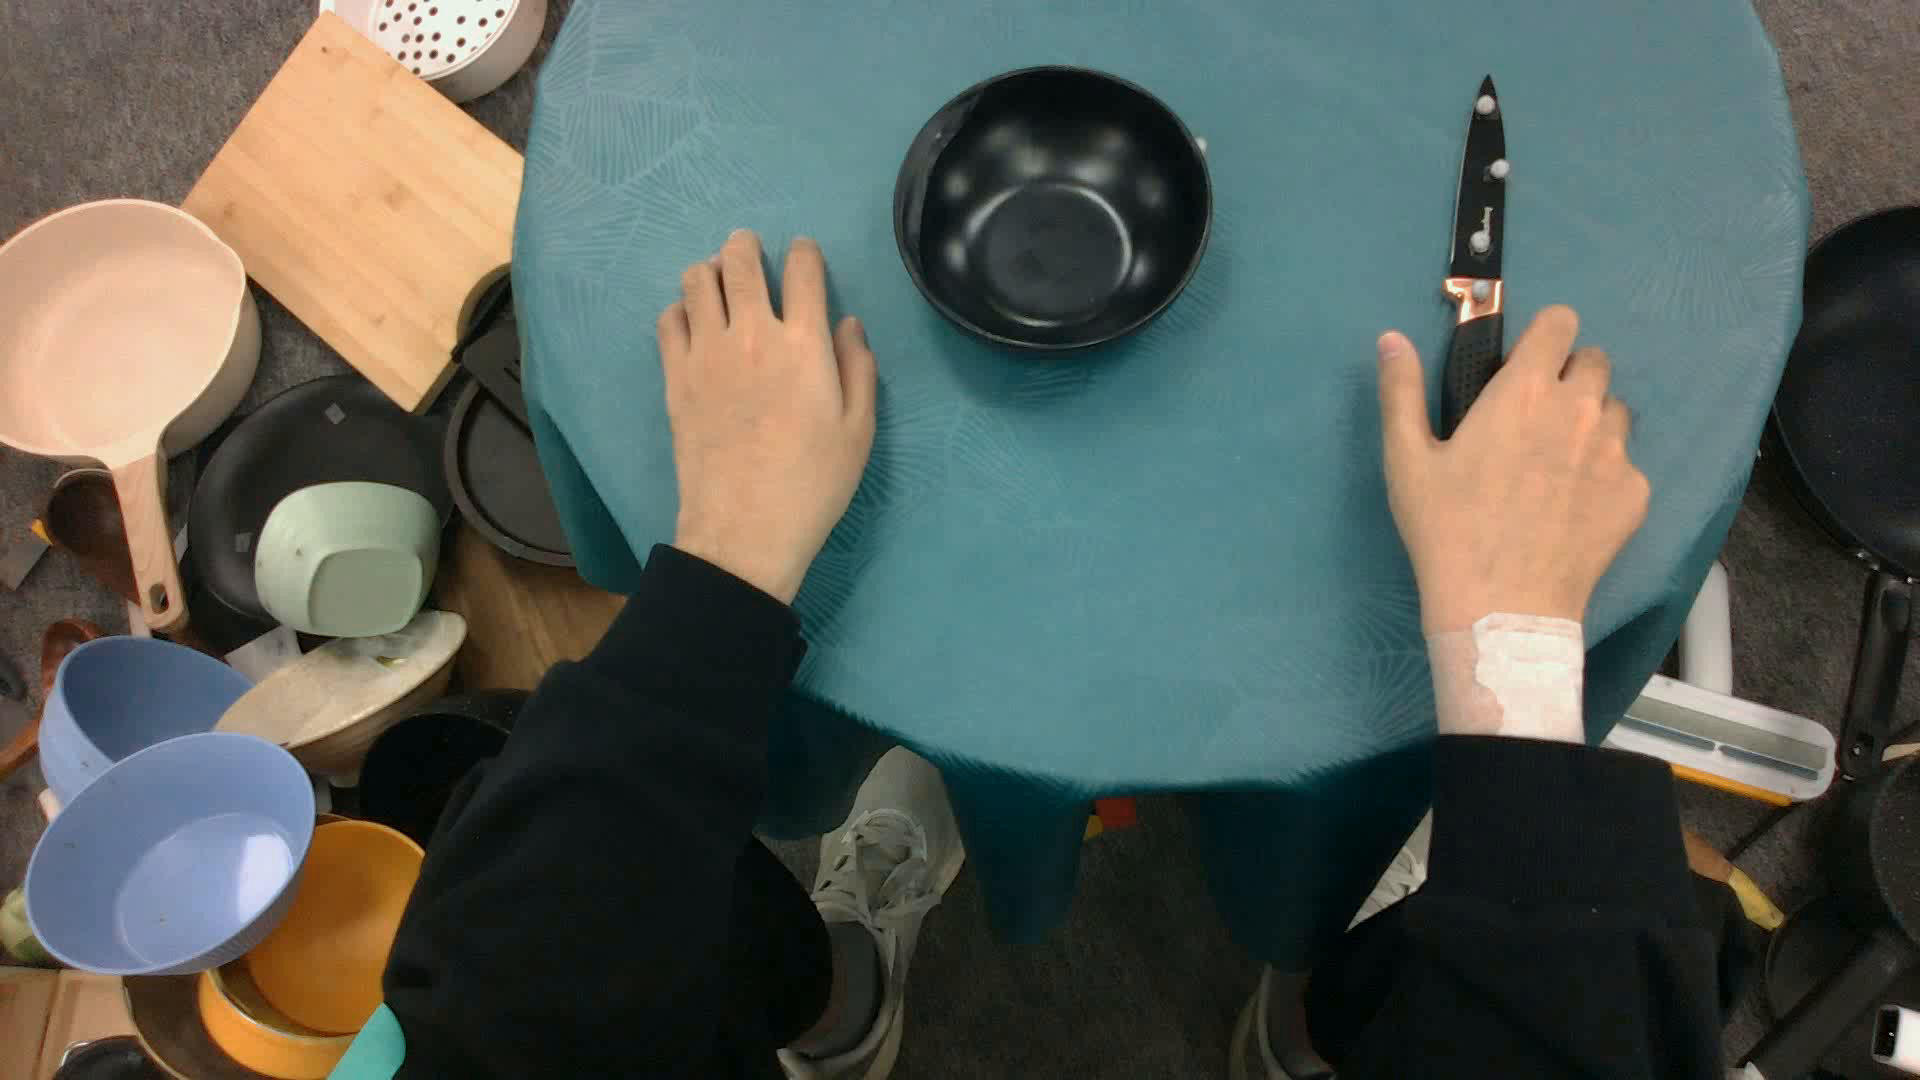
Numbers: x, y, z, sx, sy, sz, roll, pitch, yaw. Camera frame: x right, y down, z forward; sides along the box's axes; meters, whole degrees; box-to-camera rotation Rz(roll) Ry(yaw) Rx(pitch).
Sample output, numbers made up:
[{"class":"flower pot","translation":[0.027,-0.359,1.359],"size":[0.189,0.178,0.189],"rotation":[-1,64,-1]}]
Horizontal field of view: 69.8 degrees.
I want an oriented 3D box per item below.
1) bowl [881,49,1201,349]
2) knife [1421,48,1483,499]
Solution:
[{"class":"bowl","translation":[0.036,-0.146,0.619],"size":[0.140,0.049,0.140],"rotation":[0,77,2]},{"class":"knife","translation":[0.221,-0.125,0.618],"size":[0.026,0.017,0.226],"rotation":[6,73,8]}]
